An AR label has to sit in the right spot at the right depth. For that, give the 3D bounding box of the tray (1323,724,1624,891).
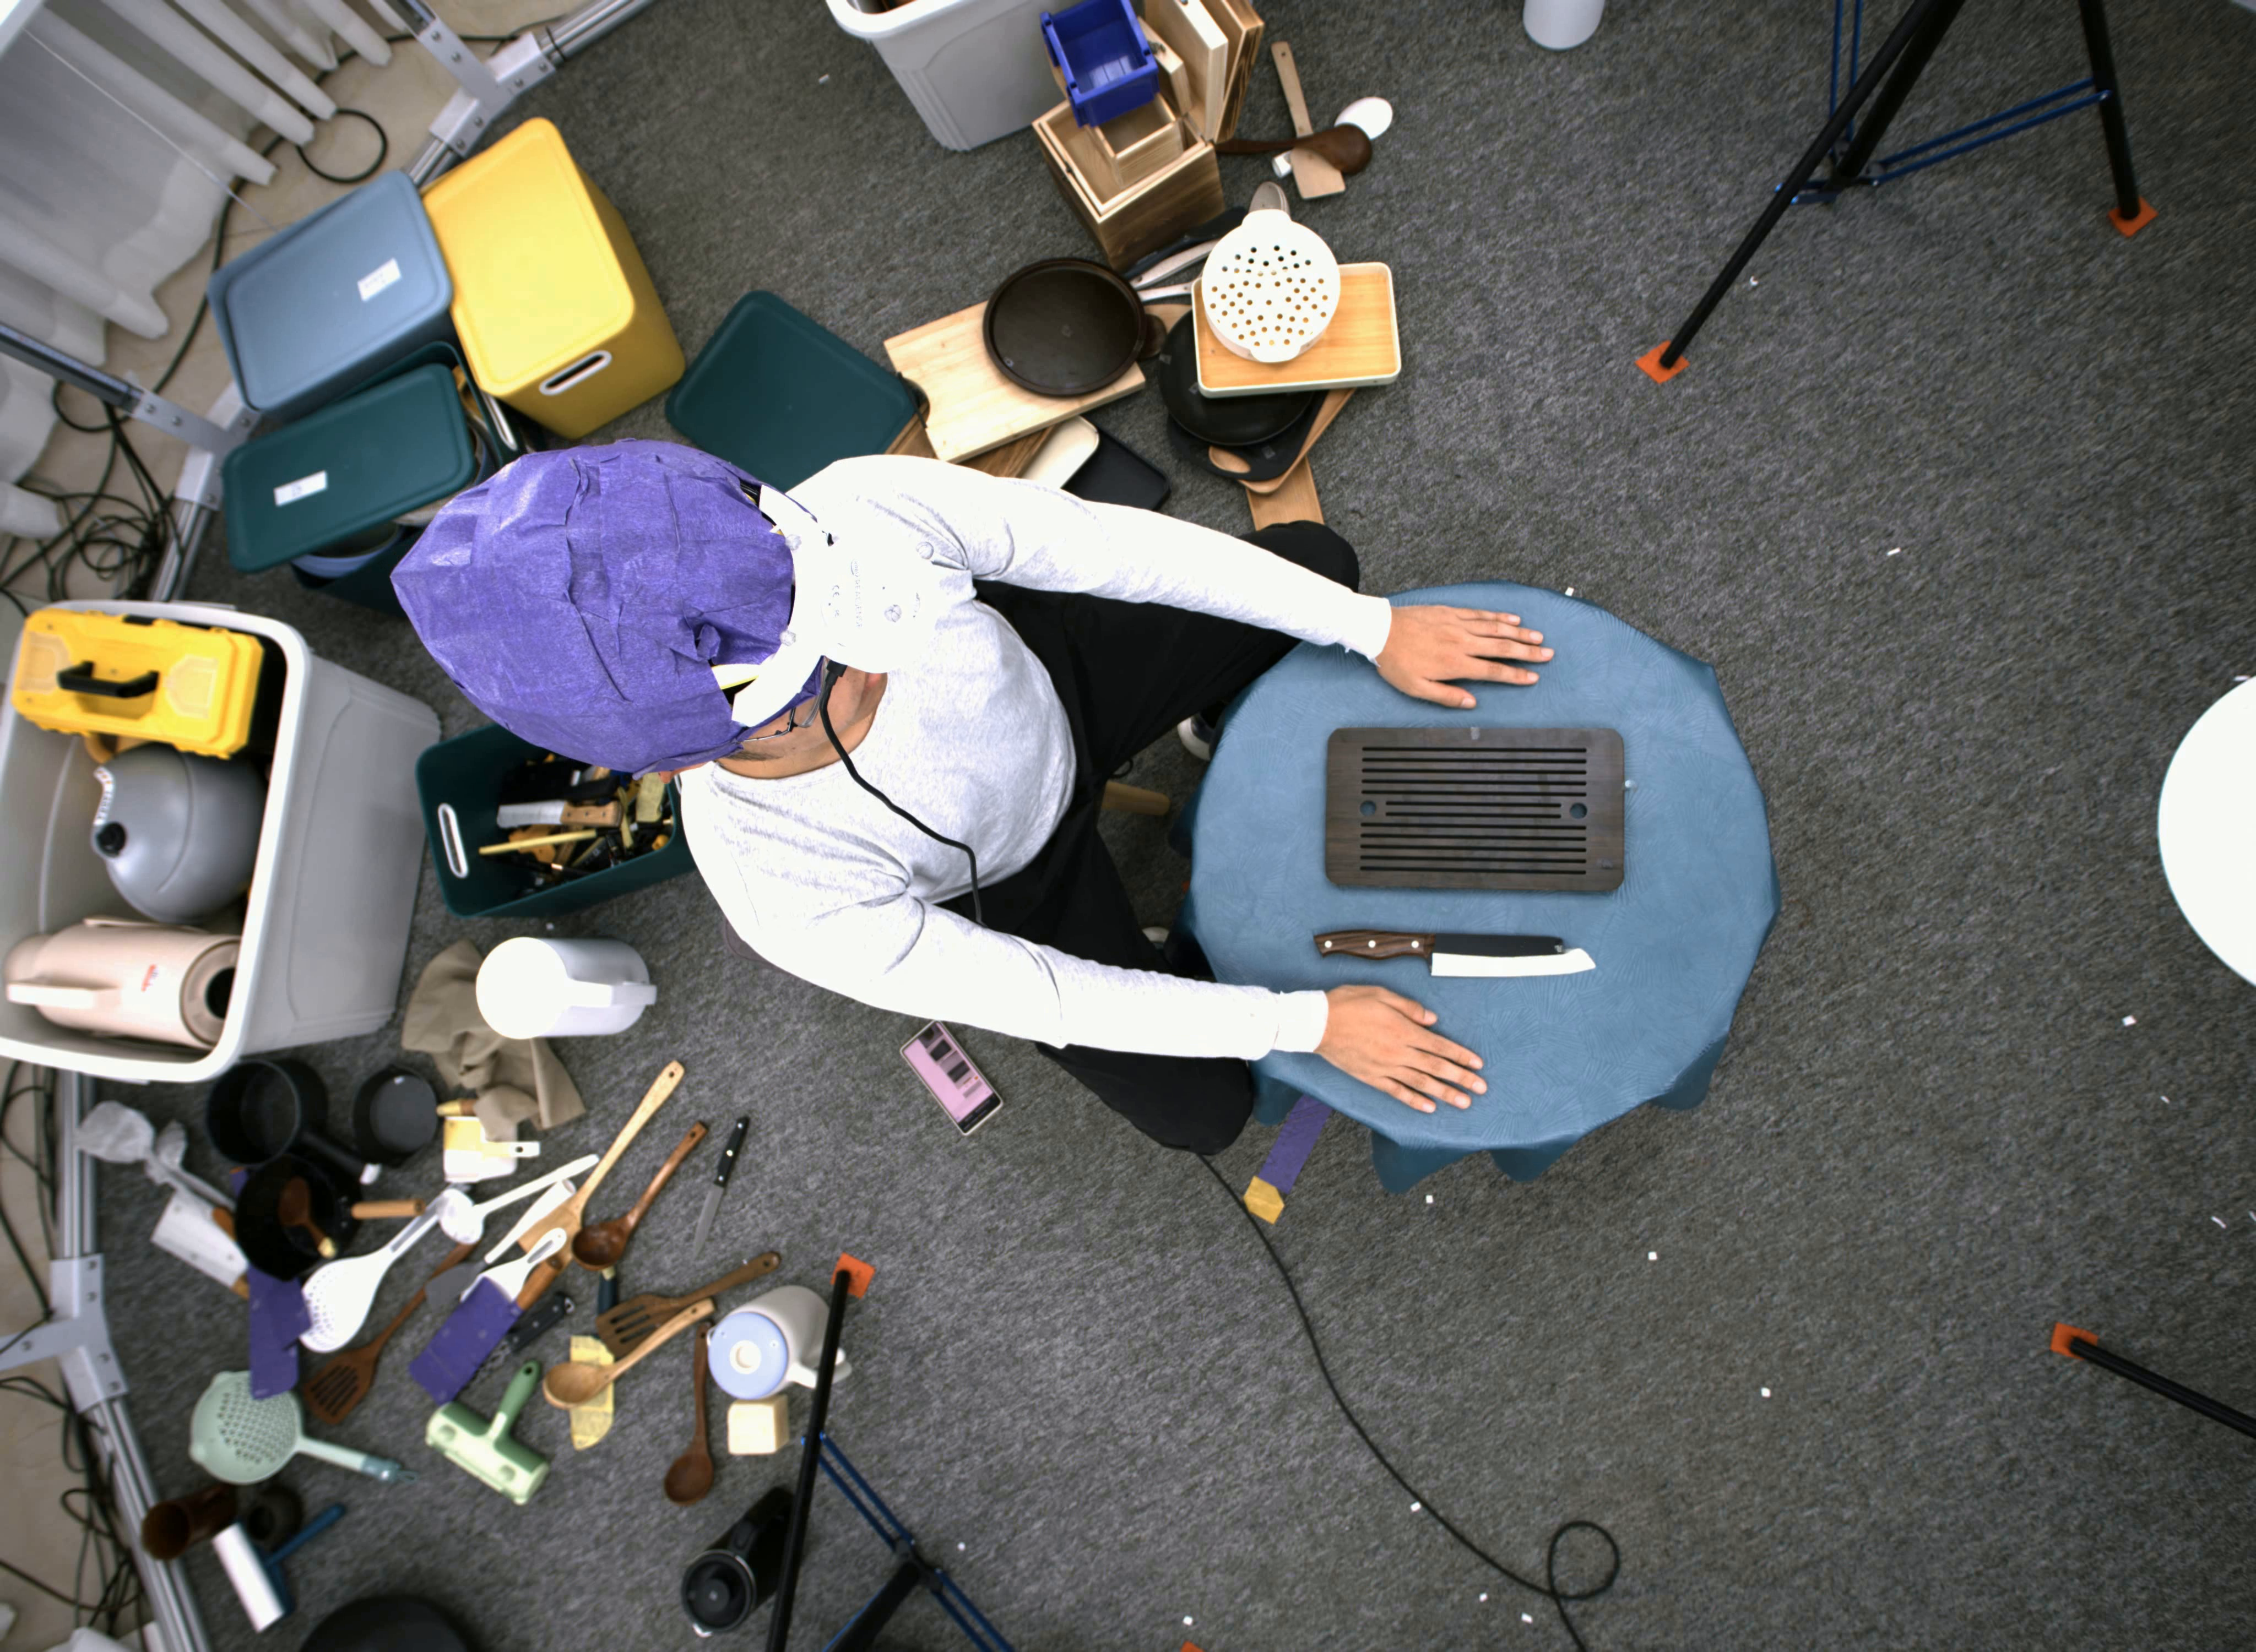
[{"bbox_3d":[0.360,-0.023,1.440,0.307,0.018,0.169,1,87,11],"label":"tray"}]

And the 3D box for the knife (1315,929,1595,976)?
[{"bbox_3d":[0.339,0.129,1.436,0.290,0.020,0.050,3,92,8],"label":"knife"}]
